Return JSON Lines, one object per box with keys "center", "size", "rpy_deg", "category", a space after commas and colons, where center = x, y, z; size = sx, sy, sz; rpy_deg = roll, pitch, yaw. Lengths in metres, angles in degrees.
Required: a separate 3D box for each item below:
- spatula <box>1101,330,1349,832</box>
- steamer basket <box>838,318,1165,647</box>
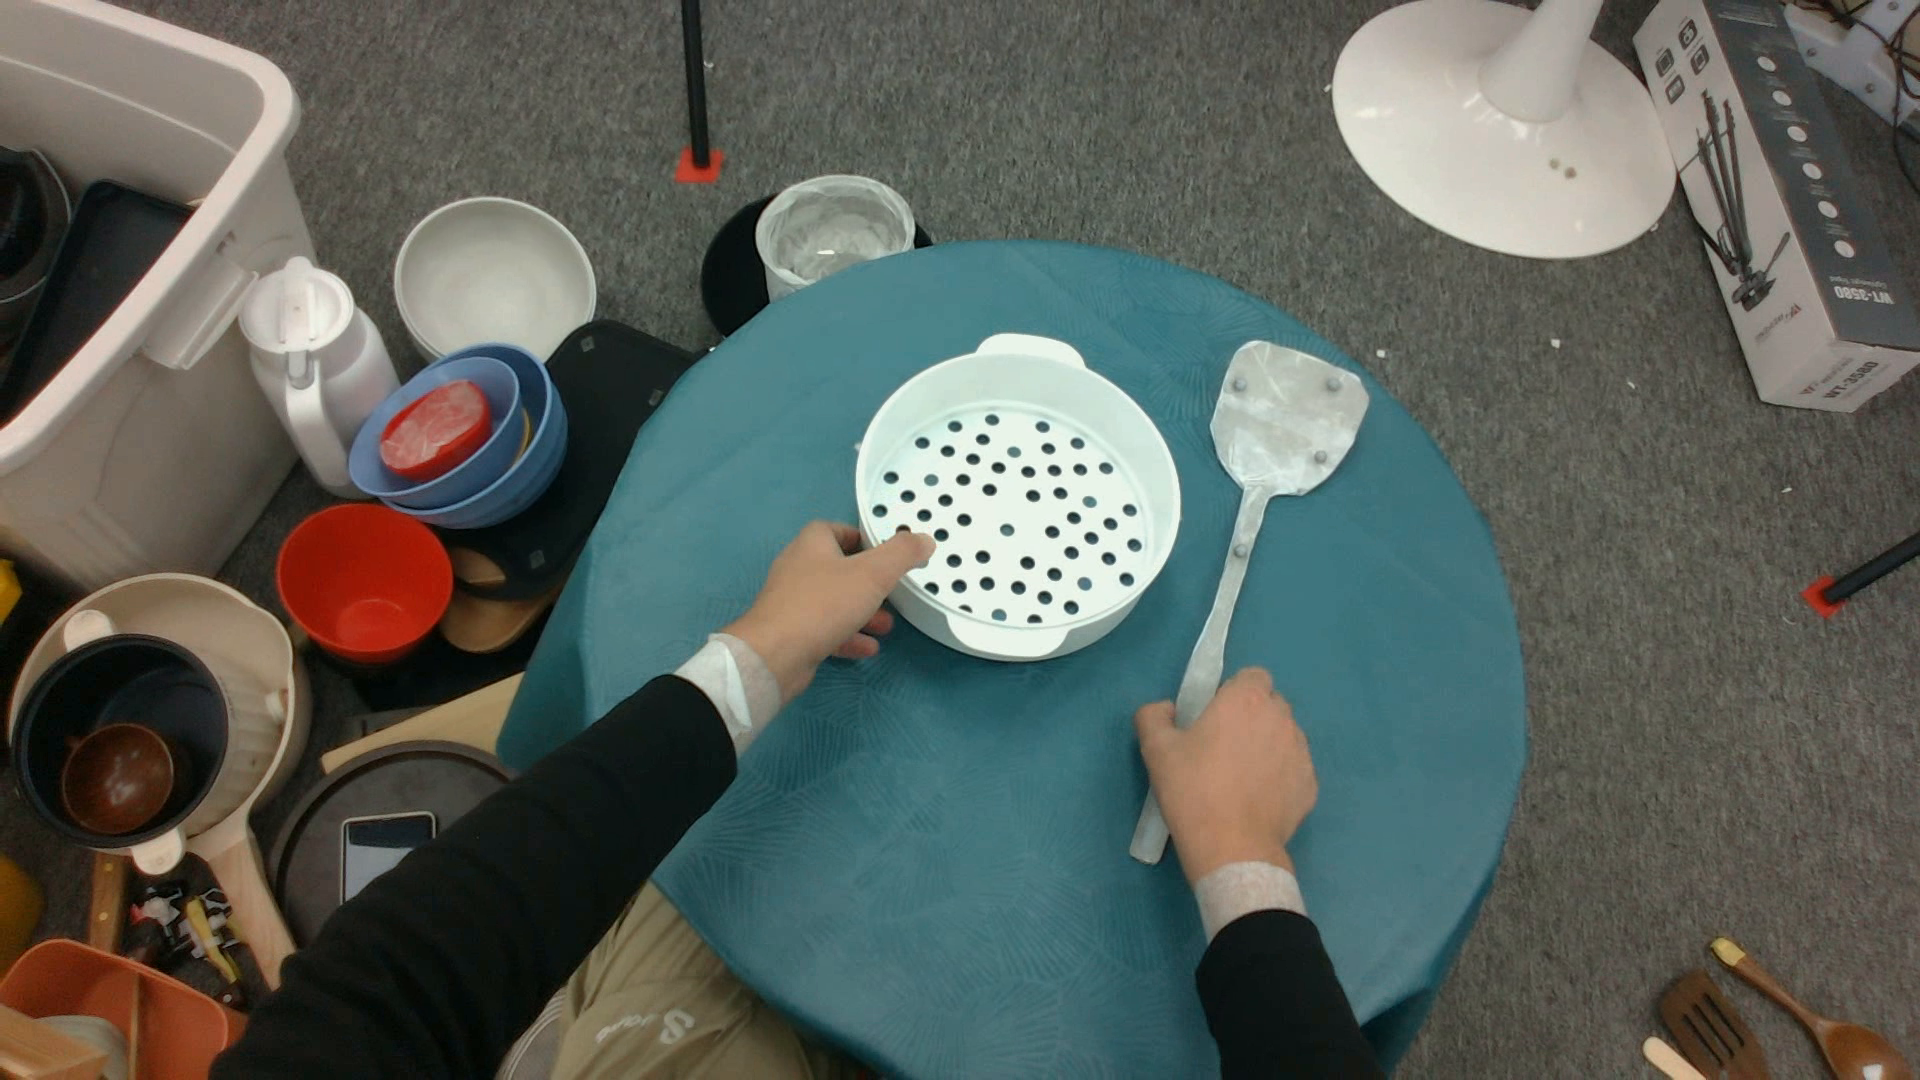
{"center": [0.161, 0.020, 0.877], "size": [0.099, 0.044, 0.366], "rpy_deg": [23, 61, 1], "category": "spatula"}
{"center": [0.024, -0.030, 0.867], "size": [0.202, 0.069, 0.231], "rpy_deg": [8, 62, -2], "category": "steamer basket"}
